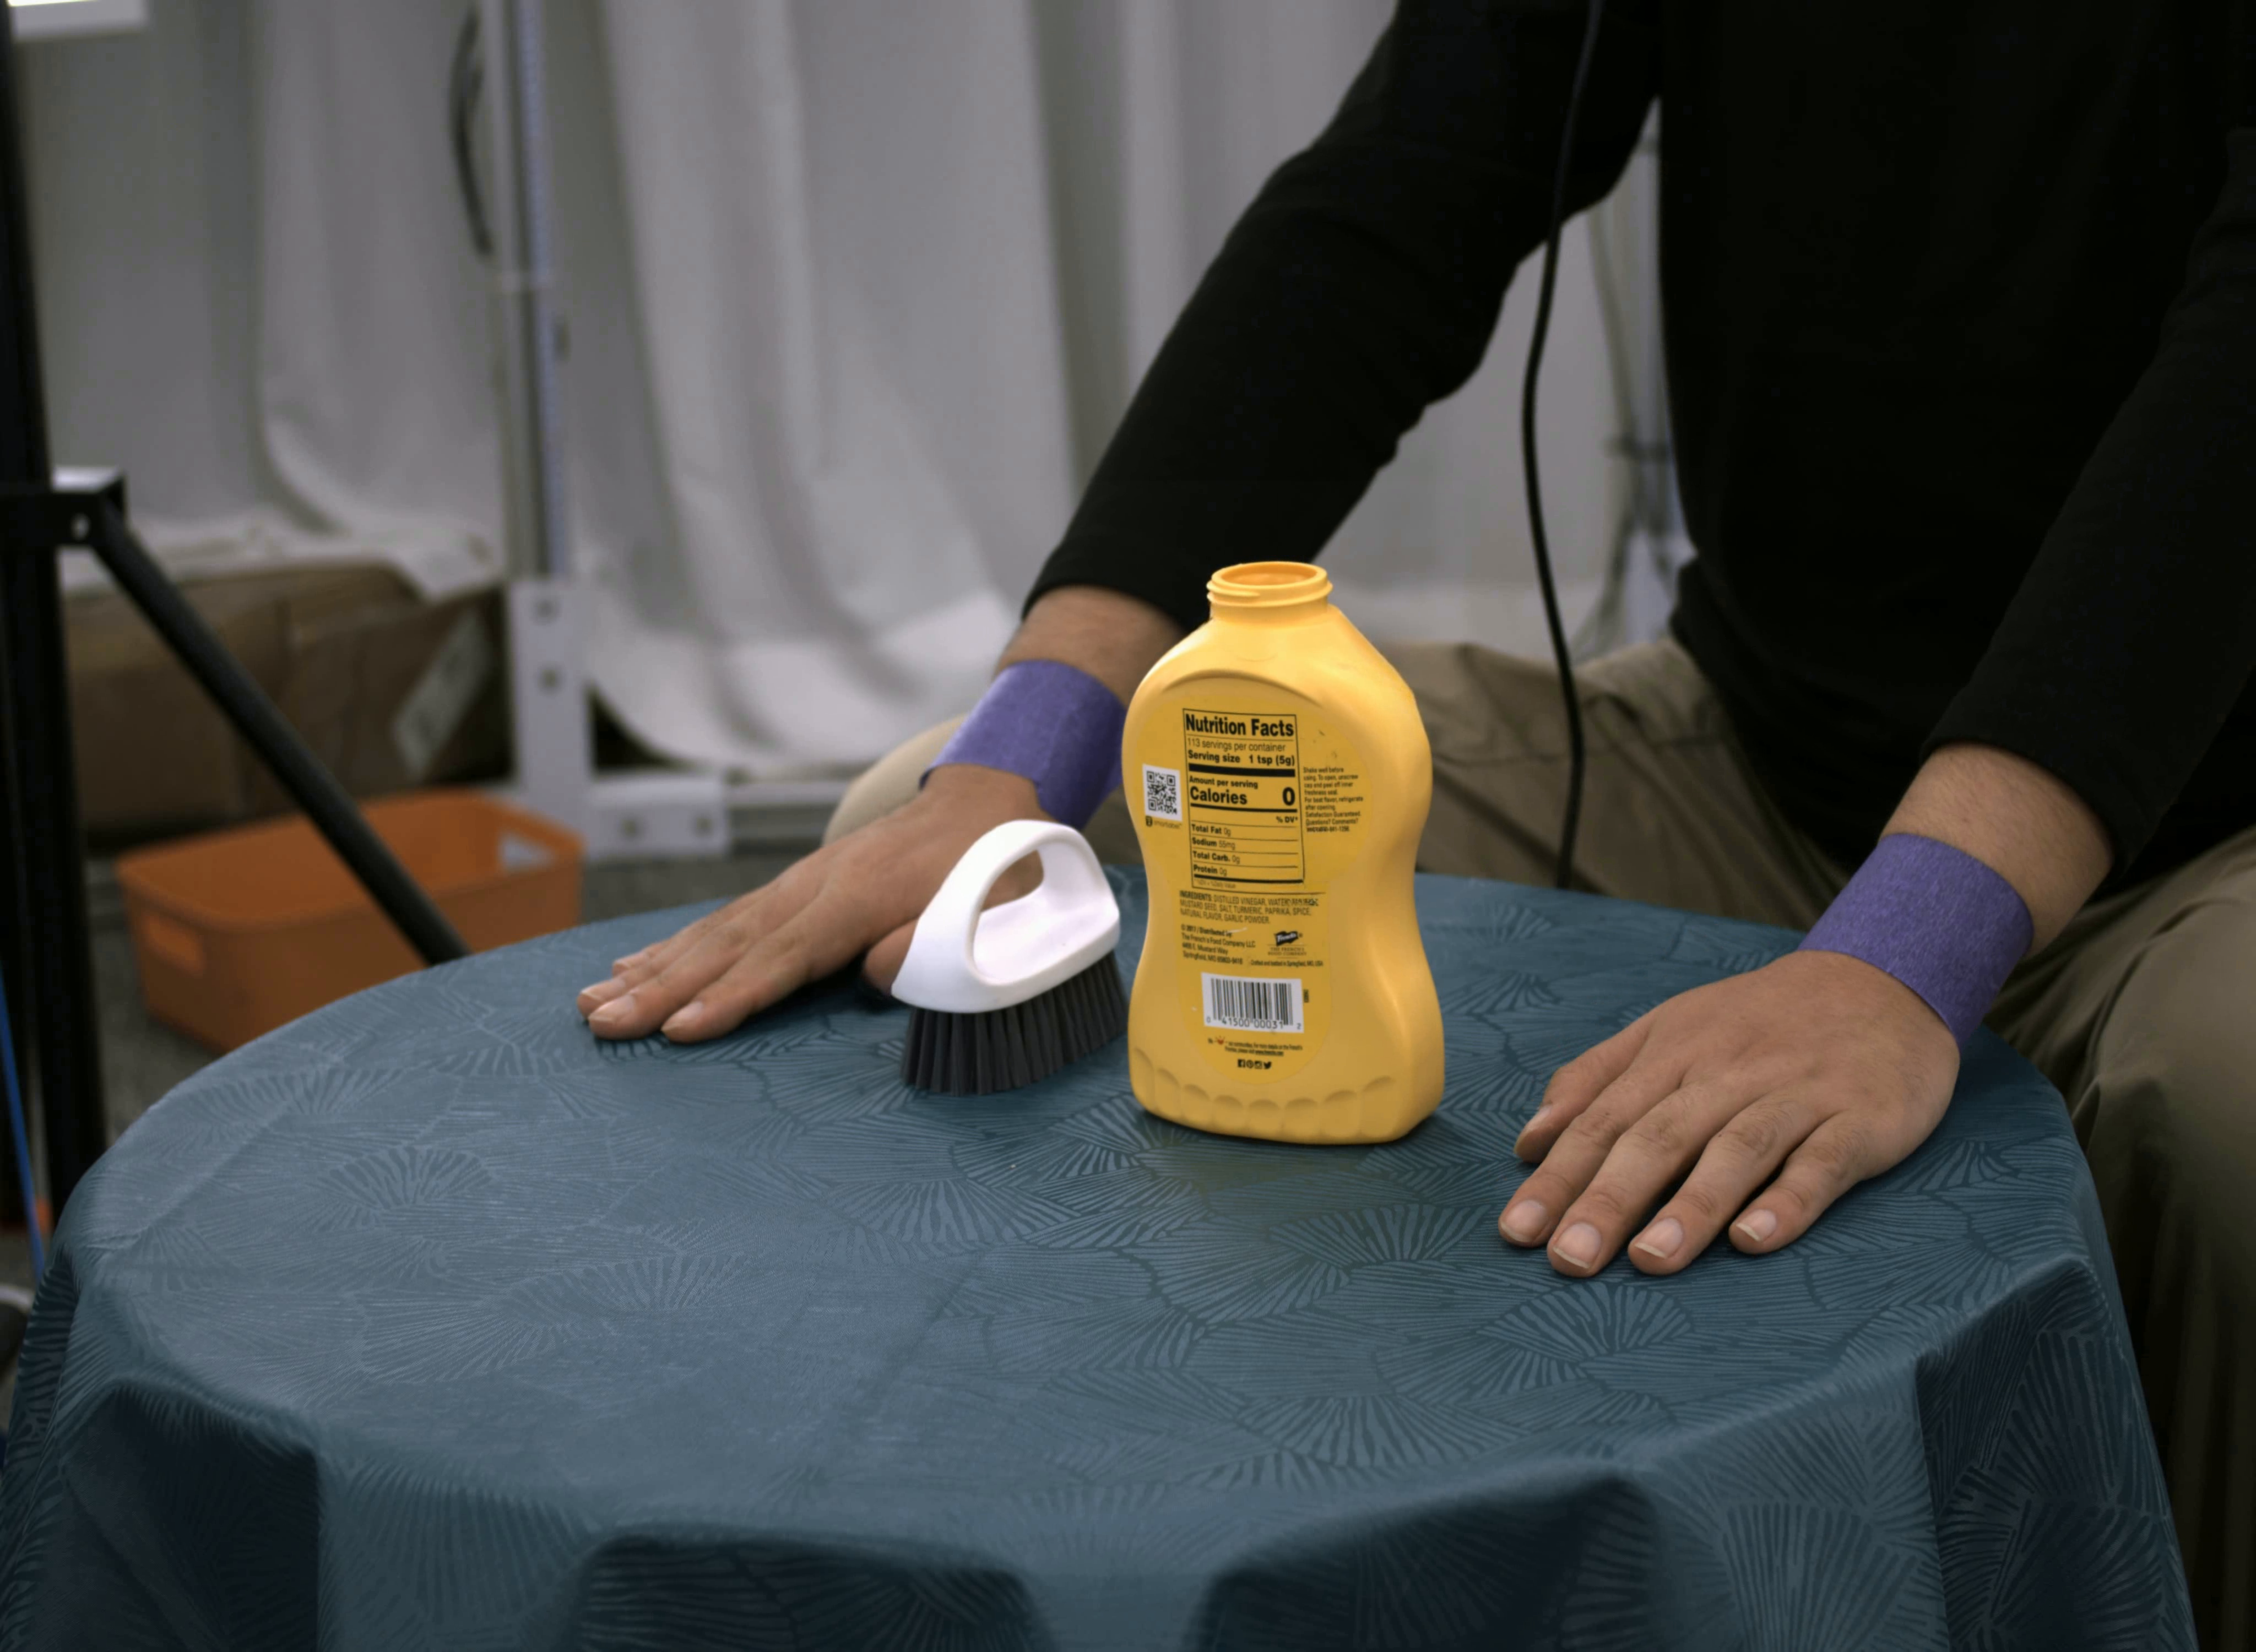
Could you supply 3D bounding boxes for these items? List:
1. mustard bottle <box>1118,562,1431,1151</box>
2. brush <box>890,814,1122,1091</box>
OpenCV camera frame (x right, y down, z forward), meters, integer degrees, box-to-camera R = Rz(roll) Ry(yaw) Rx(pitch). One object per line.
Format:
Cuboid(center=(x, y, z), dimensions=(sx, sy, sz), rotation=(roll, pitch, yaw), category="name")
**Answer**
Cuboid(center=(0.043, 0.008, 1.598), dimensions=(0.100, 0.172, 0.058), rotation=(3, 13, 26), category="mustard bottle")
Cuboid(center=(-0.039, 0.035, 1.688), dimensions=(0.051, 0.072, 0.097), rotation=(9, 20, 30), category="brush")
